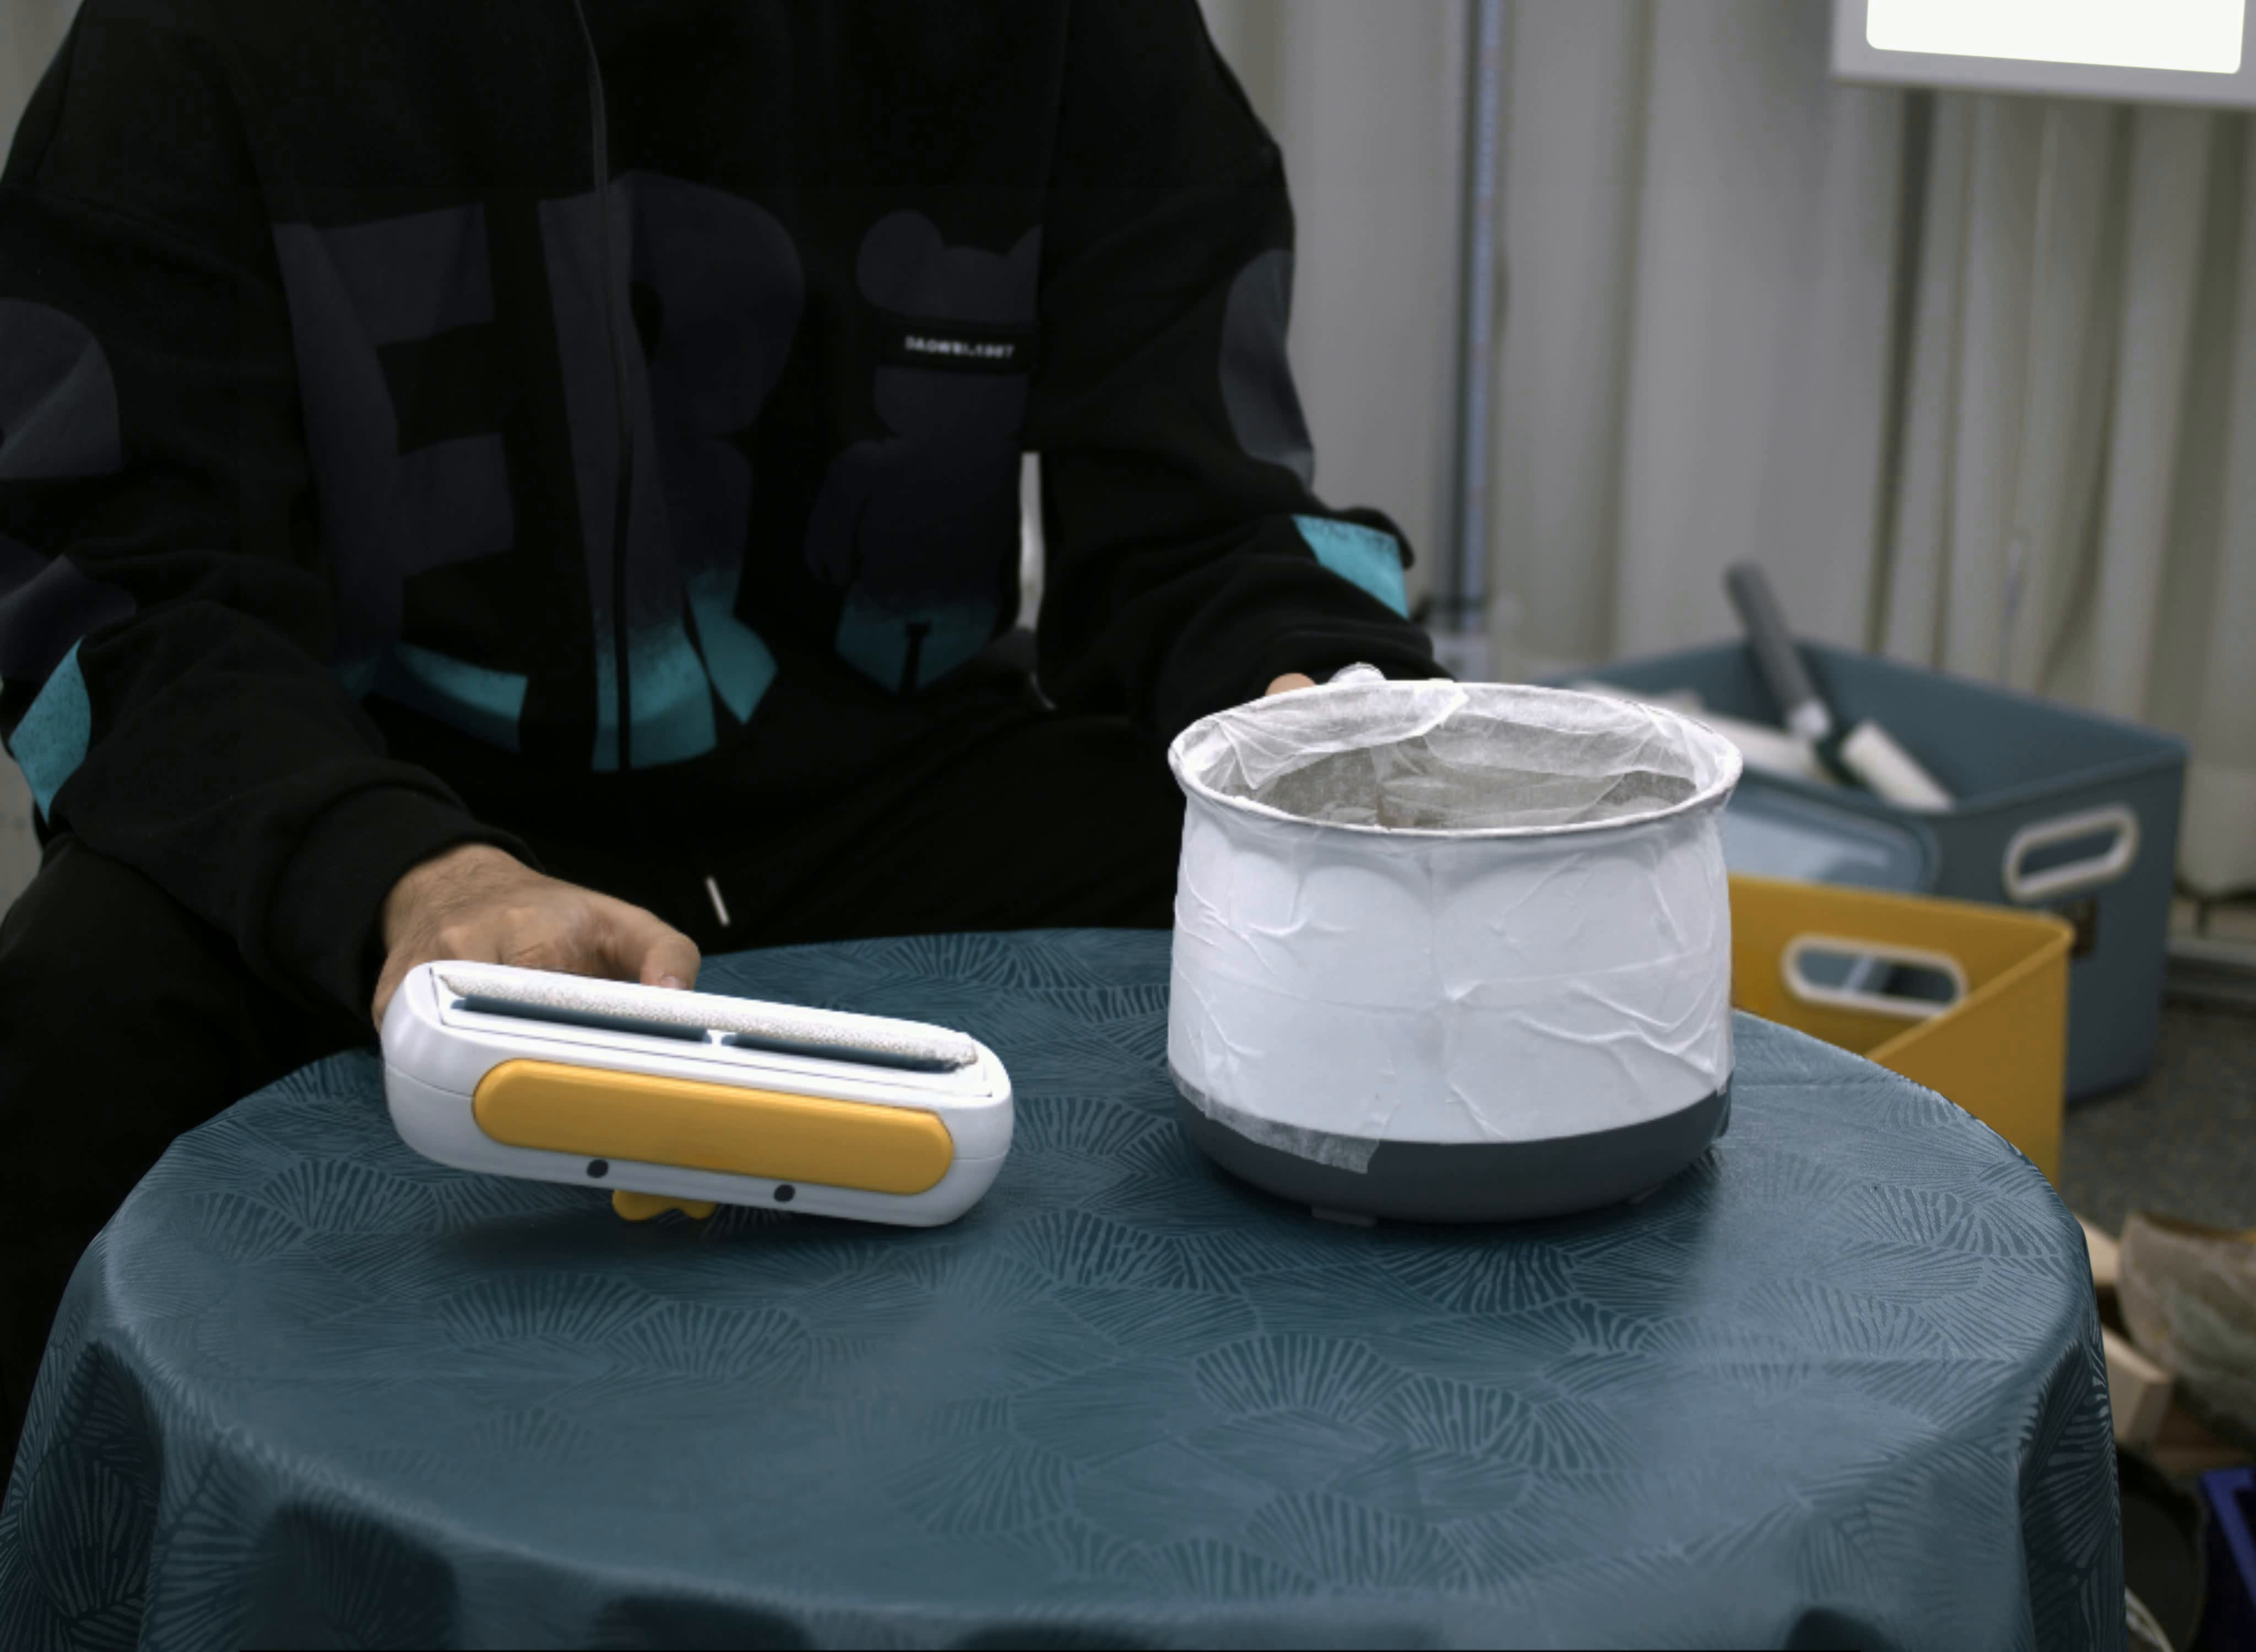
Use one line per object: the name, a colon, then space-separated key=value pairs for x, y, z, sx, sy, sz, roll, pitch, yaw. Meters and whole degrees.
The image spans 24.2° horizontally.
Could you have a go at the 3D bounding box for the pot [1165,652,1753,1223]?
pot: x=0.093 y=0.030 z=1.656 sx=0.179 sy=0.138 sz=0.231 roll=-2 pitch=17 yaw=-16

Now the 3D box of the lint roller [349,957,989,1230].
lint roller: x=-0.148 y=0.073 z=1.631 sx=0.193 sy=0.074 sz=0.191 roll=5 pitch=13 yaw=-12
